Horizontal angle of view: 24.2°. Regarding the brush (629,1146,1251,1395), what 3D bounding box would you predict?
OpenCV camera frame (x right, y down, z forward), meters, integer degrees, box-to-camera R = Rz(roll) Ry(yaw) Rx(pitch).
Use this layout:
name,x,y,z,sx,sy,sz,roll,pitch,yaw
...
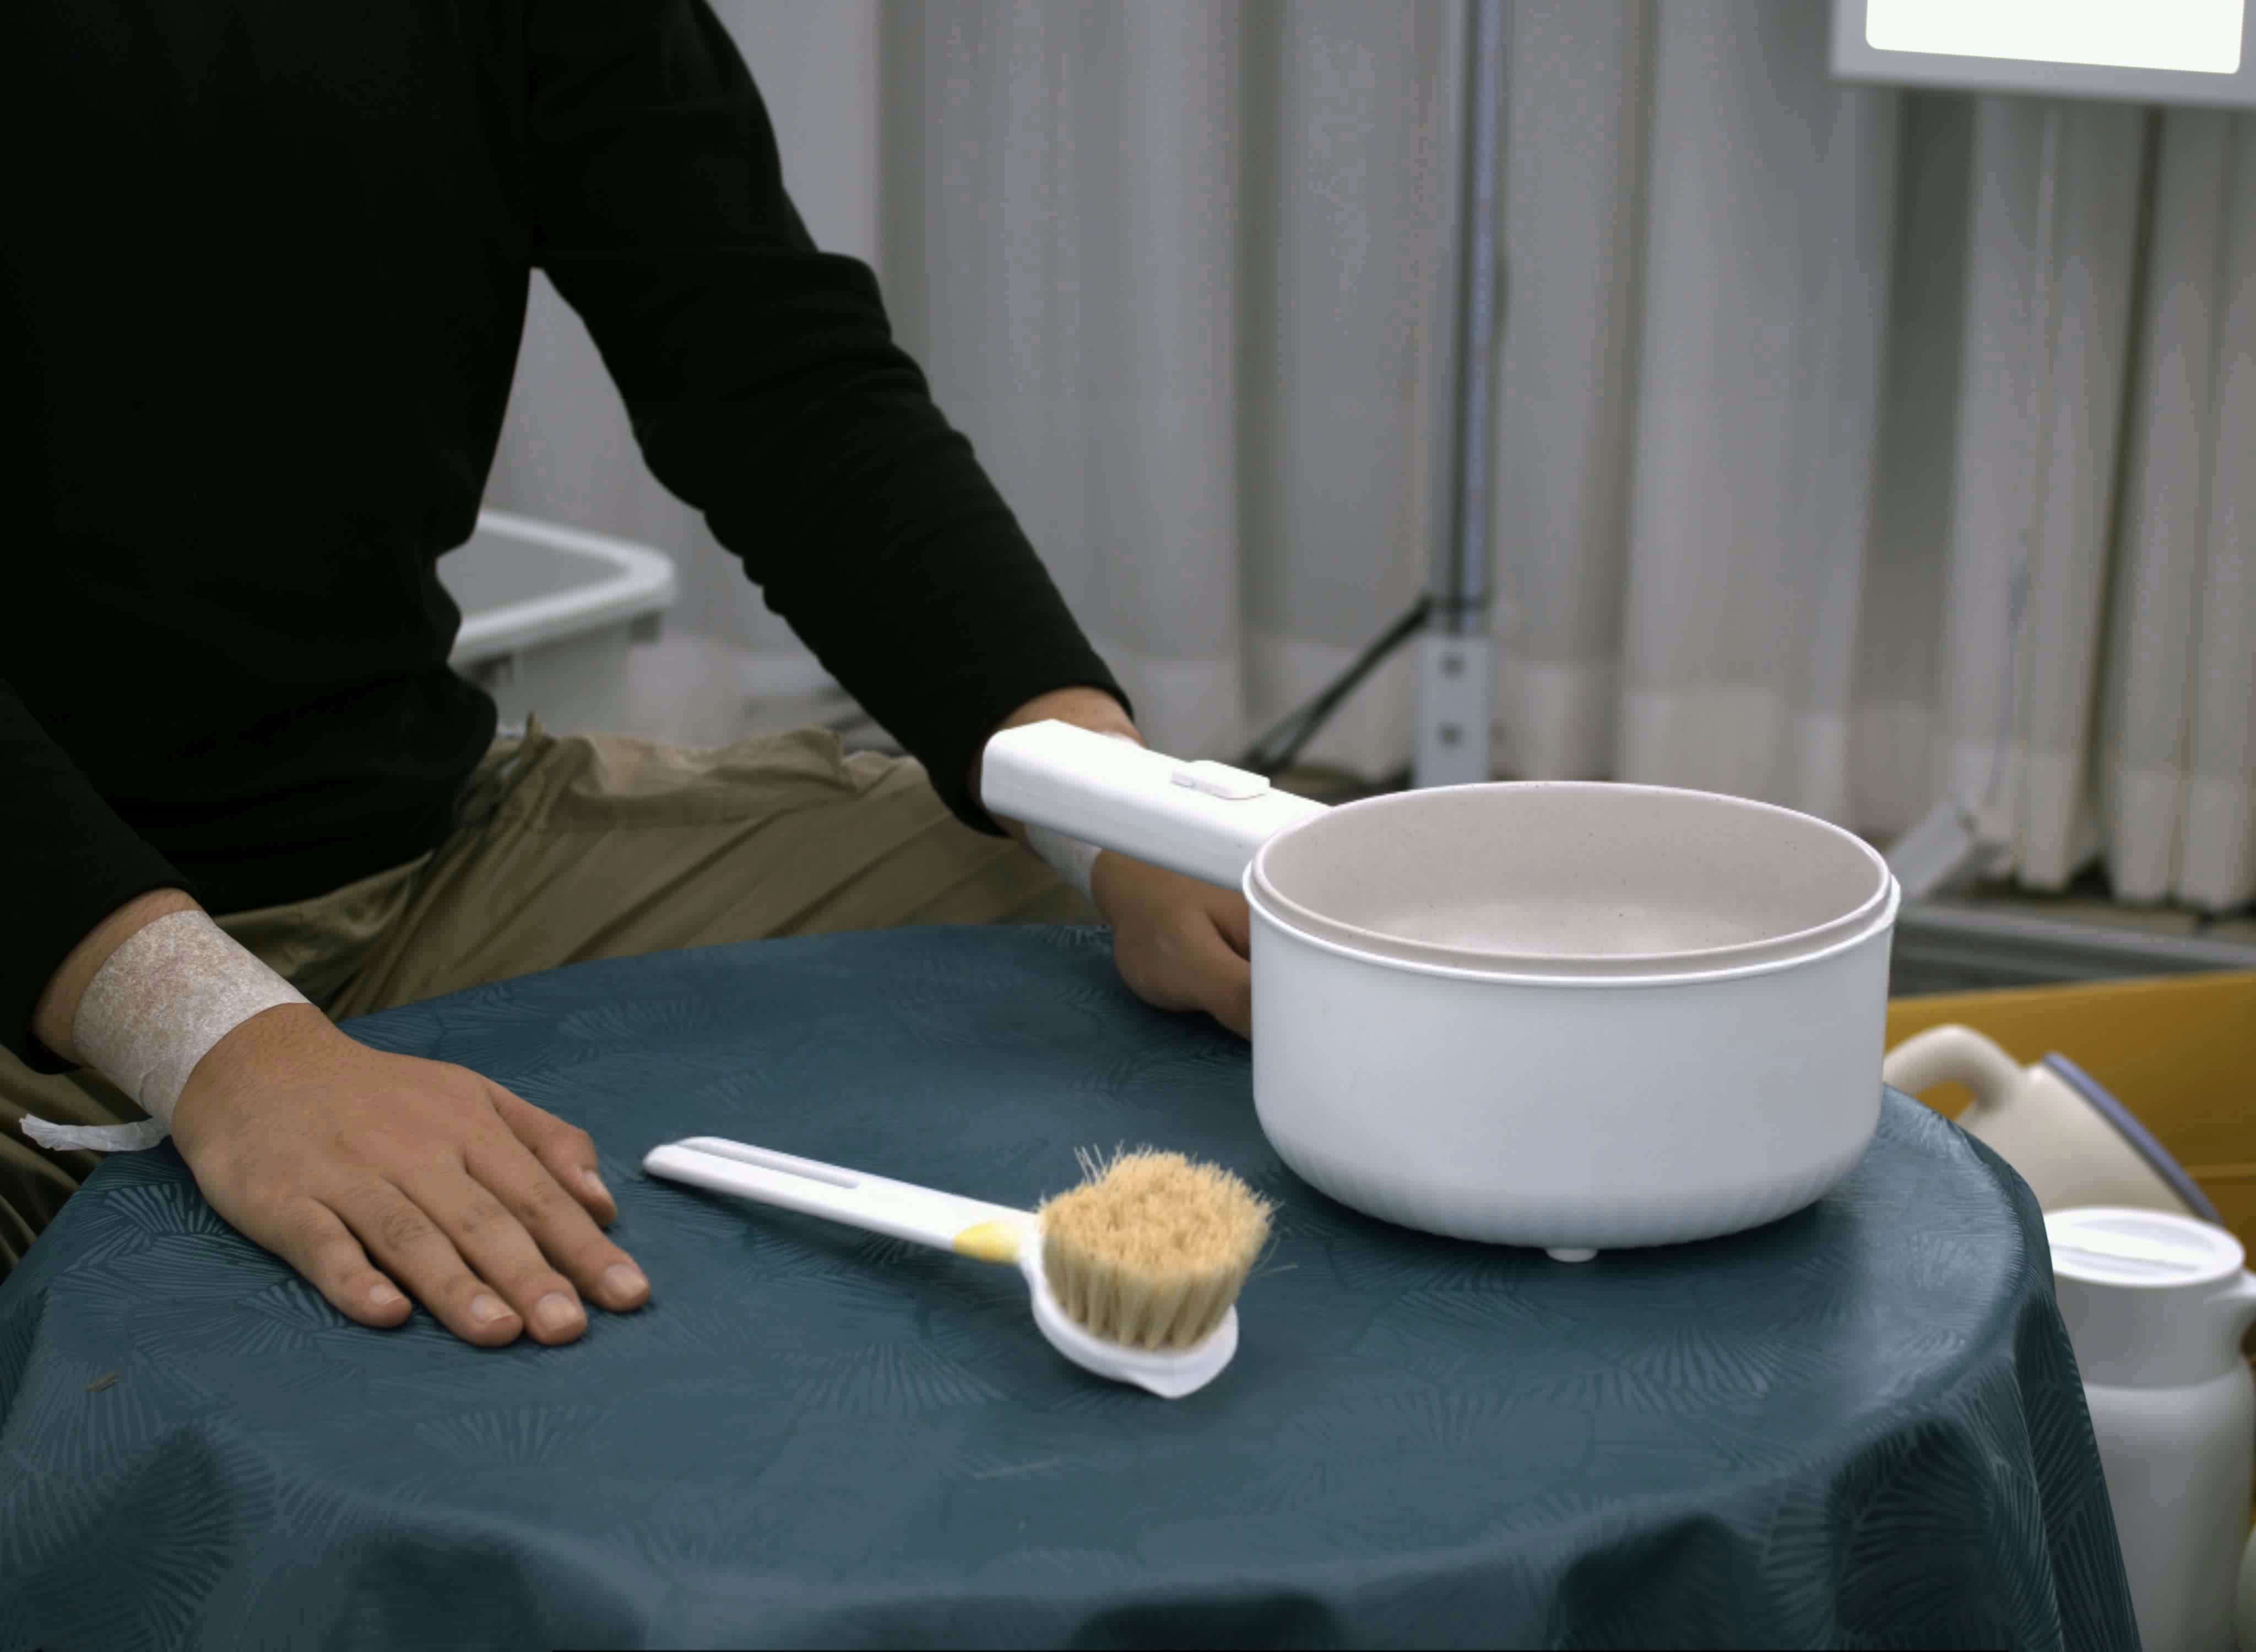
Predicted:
name,x,y,z,sx,sy,sz,roll,pitch,yaw
brush,-0.065,0.106,1.541,0.069,0.056,0.263,-8,16,-40

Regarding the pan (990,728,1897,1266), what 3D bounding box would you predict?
name,x,y,z,sx,sy,sz,roll,pitch,yaw
pan,0.083,0.047,1.678,0.202,0.103,0.350,-15,21,-41
